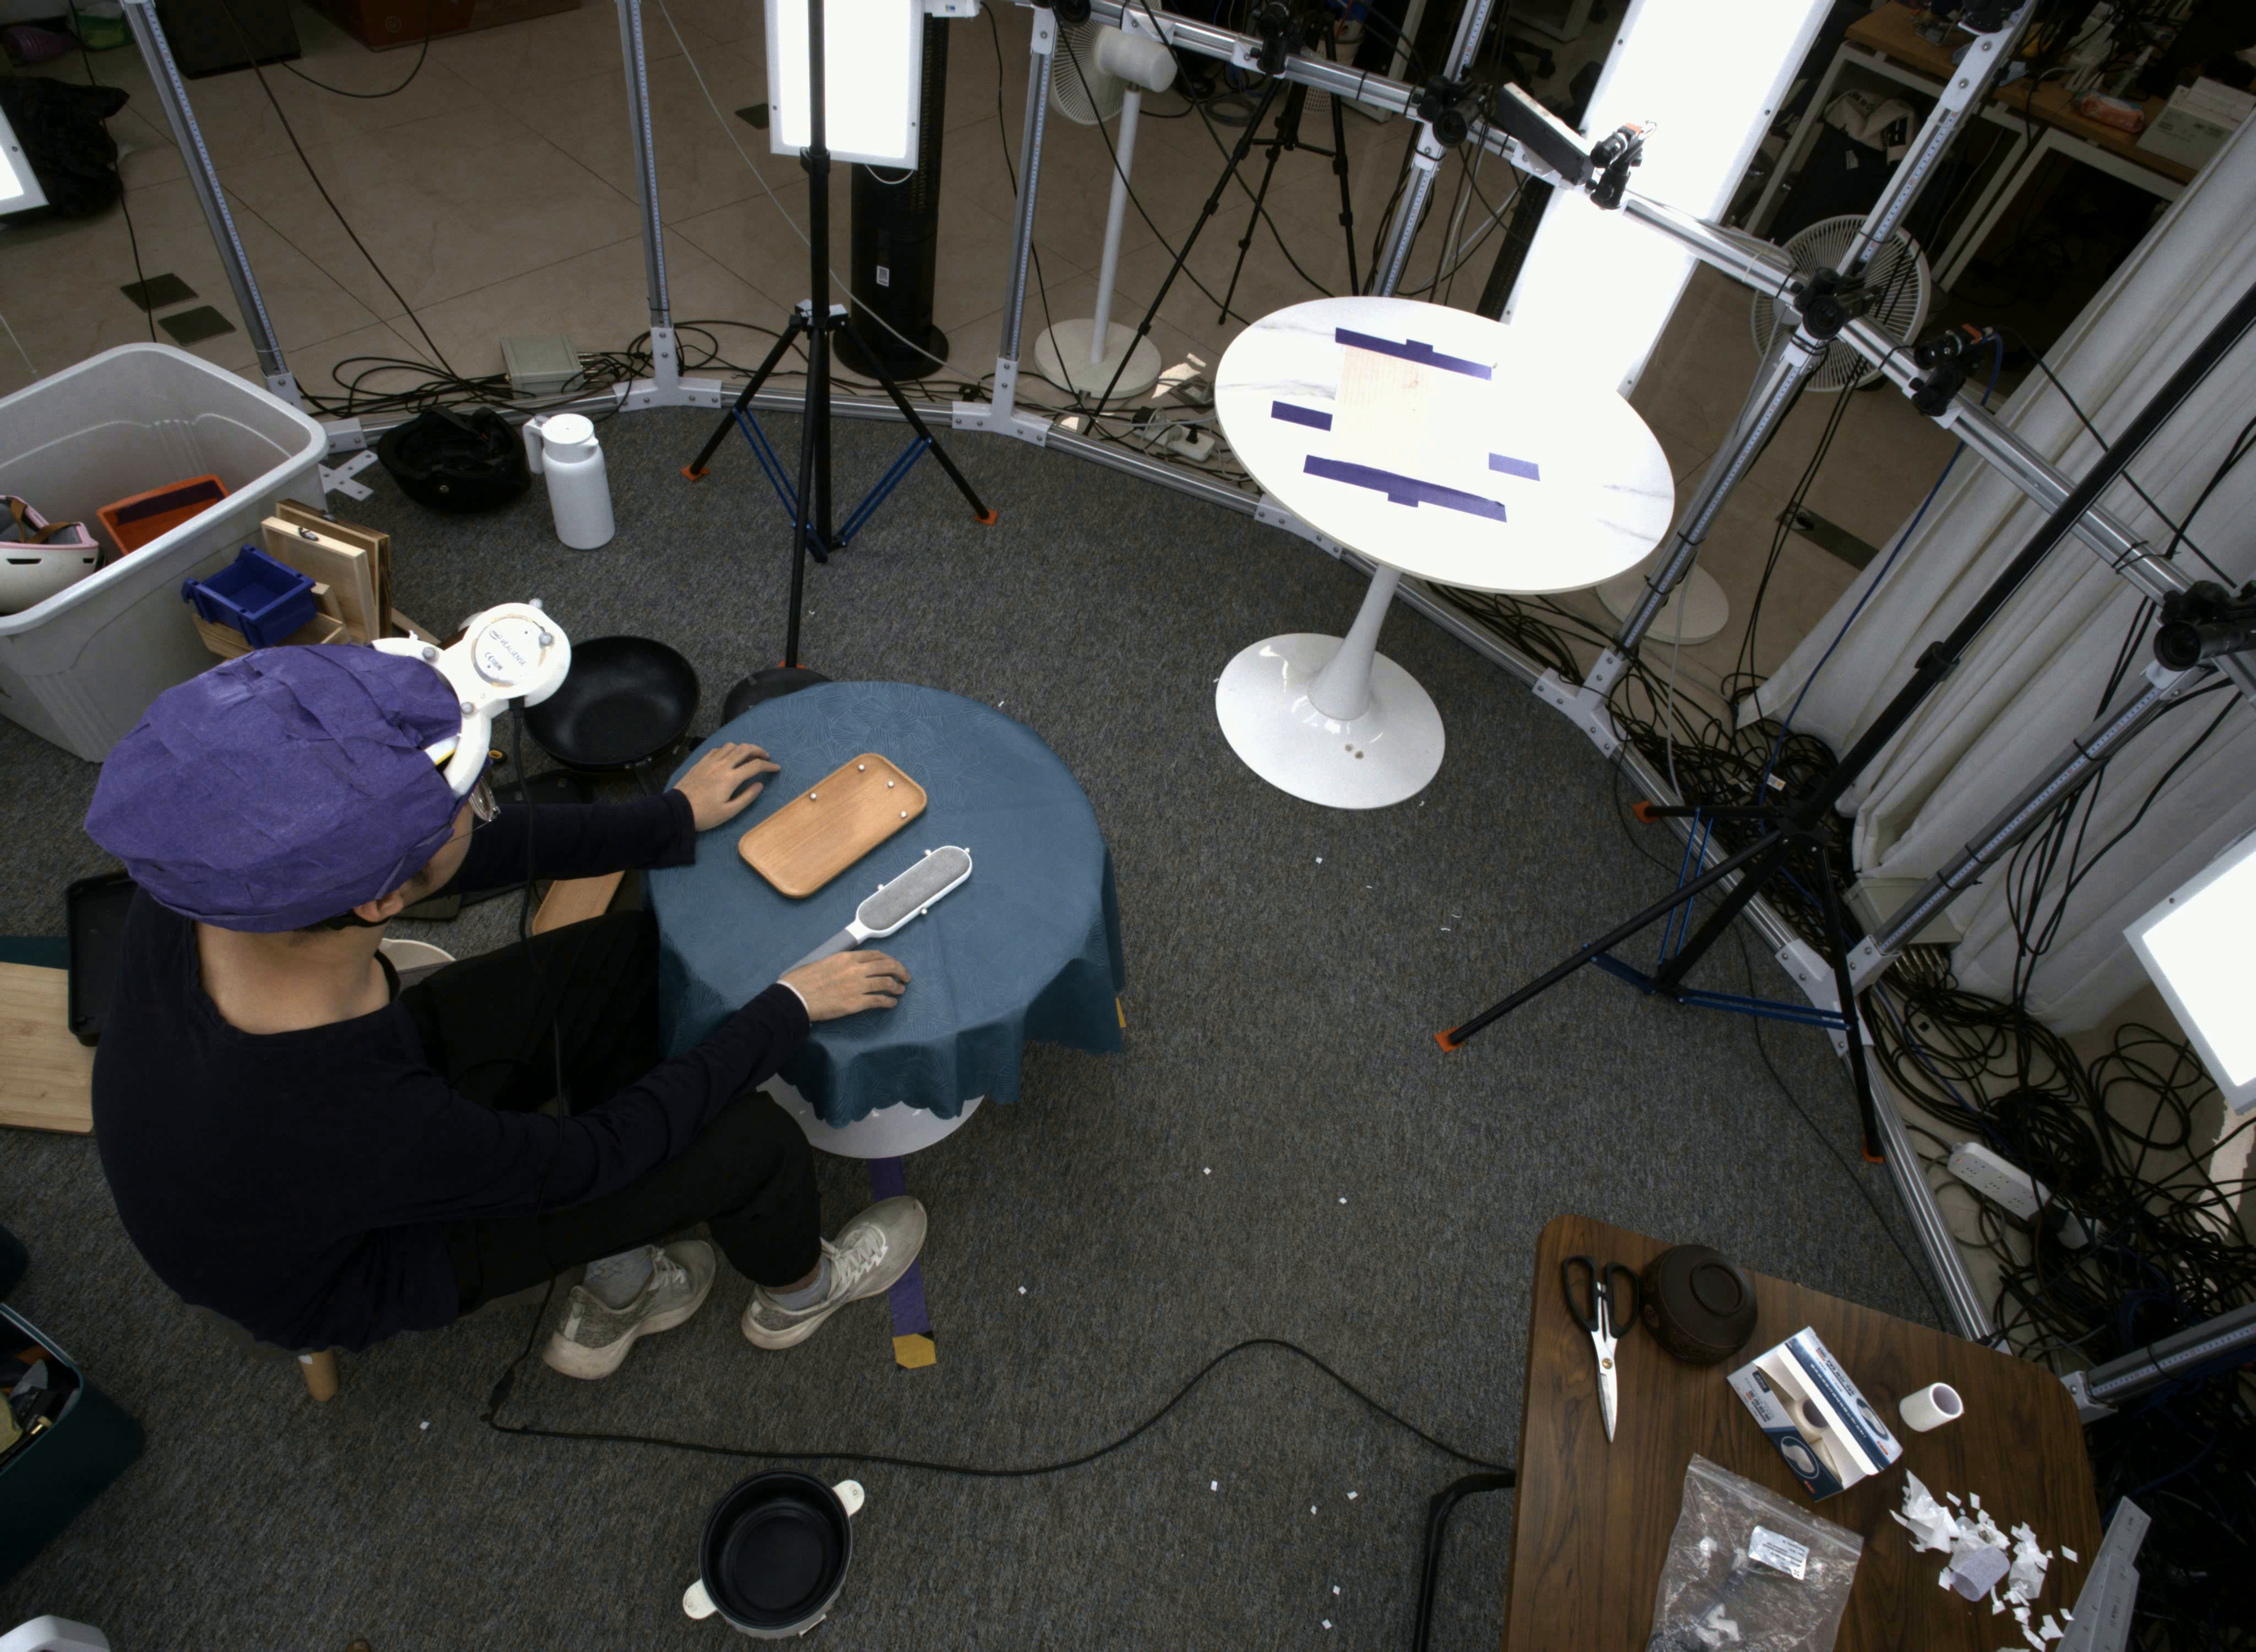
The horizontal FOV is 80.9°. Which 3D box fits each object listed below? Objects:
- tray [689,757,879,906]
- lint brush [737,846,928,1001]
[{"bbox_3d":[-0.452,0.004,1.714,0.127,0.023,0.251,37,54,16],"label":"tray"},{"bbox_3d":[-0.372,0.118,1.643,0.059,0.021,0.309,42,55,11],"label":"lint brush"}]
